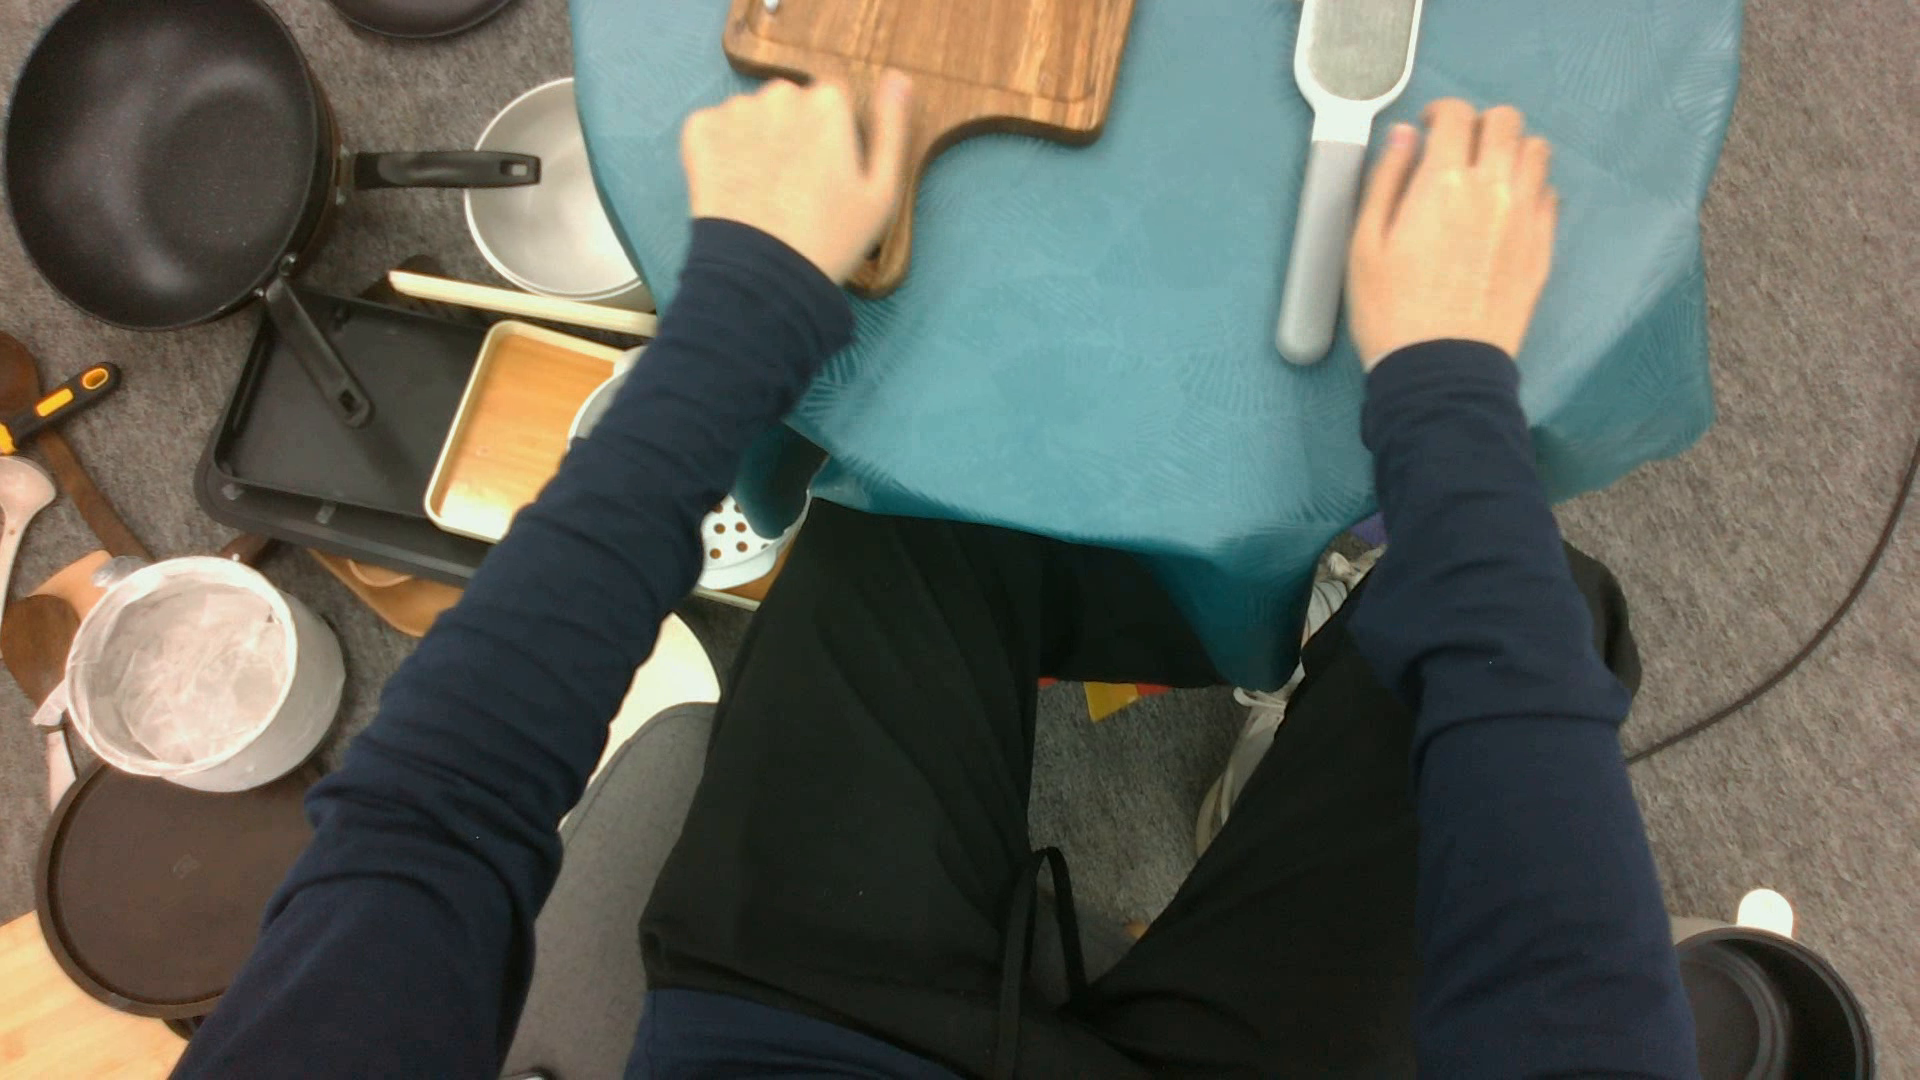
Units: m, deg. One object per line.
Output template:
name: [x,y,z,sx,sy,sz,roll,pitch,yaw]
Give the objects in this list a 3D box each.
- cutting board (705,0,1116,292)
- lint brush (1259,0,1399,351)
cutting board: [-0.018,-0.296,0.700,0.201,0.023,0.352,12,82,3]
lint brush: [0.183,-0.242,0.685,0.060,0.021,0.309,11,82,-3]
